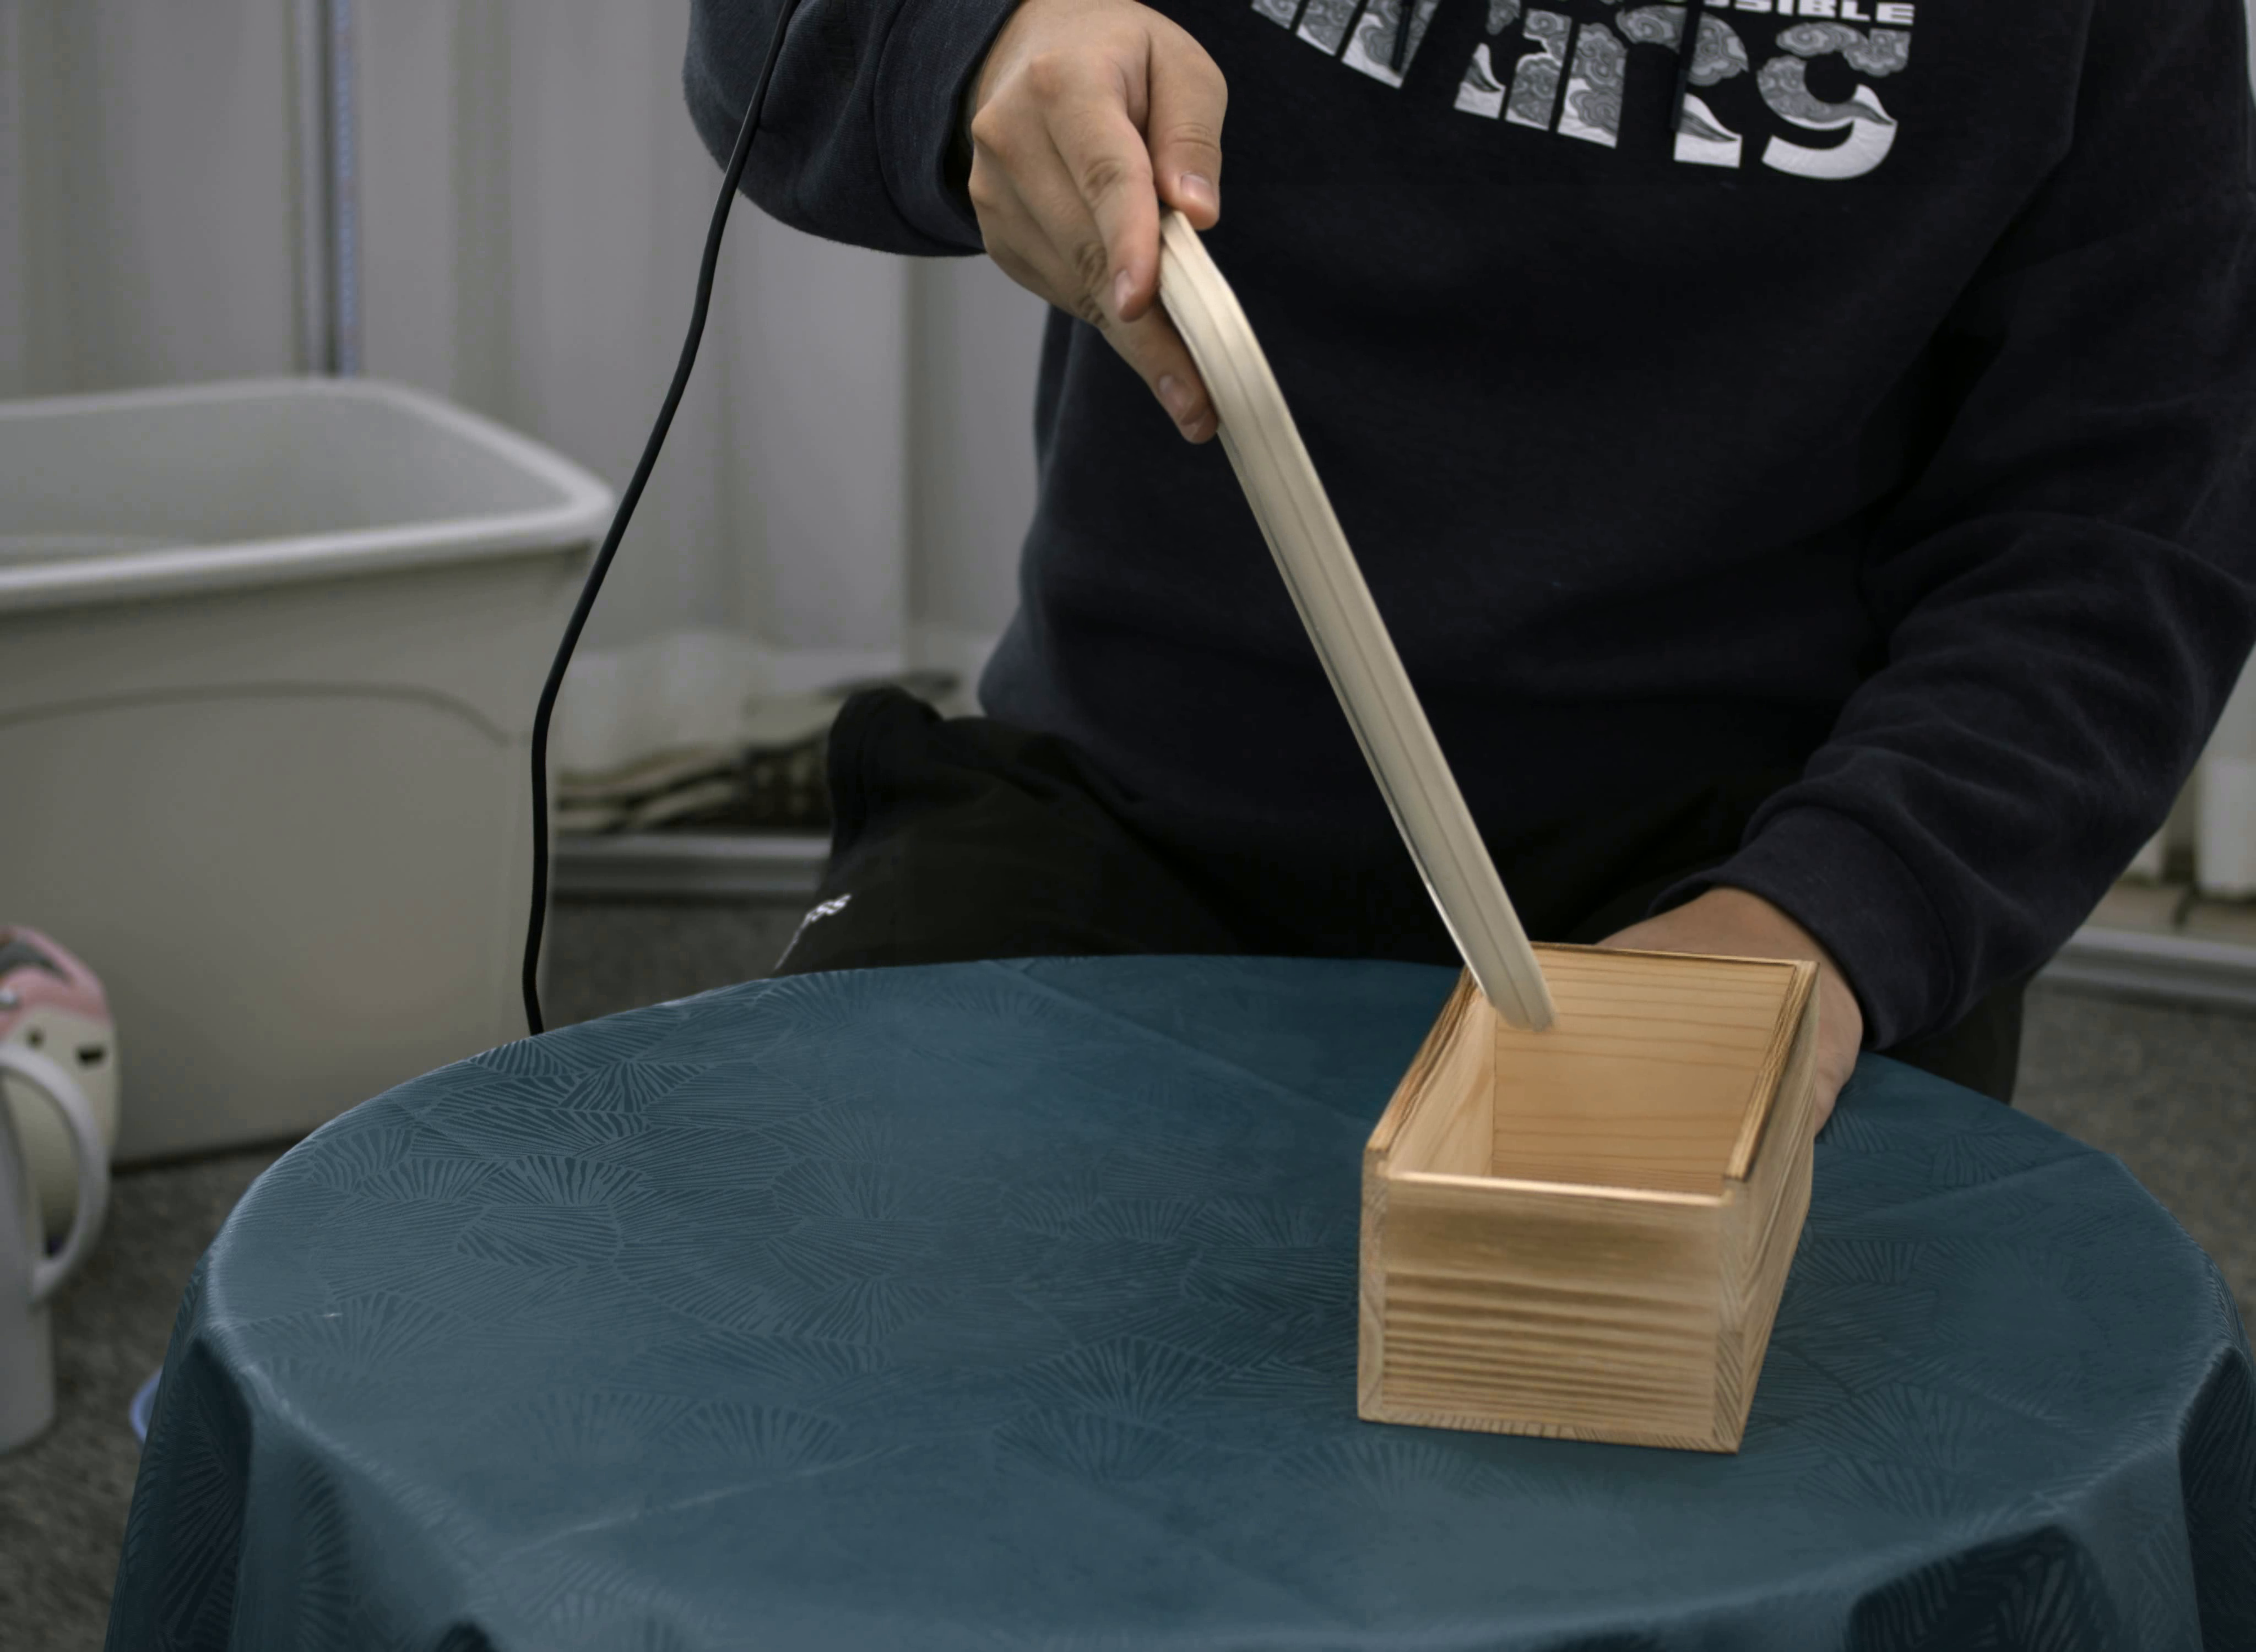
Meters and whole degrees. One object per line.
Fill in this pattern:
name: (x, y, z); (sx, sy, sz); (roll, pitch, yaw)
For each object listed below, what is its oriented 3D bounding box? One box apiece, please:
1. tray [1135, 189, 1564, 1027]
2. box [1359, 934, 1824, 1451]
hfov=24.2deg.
tray: (0.060, -0.061, 1.498); (0.017, 0.242, 0.170); (-25, 19, 1)
box: (0.137, 0.101, 1.523); (0.107, 0.081, 0.211); (4, 16, 11)
